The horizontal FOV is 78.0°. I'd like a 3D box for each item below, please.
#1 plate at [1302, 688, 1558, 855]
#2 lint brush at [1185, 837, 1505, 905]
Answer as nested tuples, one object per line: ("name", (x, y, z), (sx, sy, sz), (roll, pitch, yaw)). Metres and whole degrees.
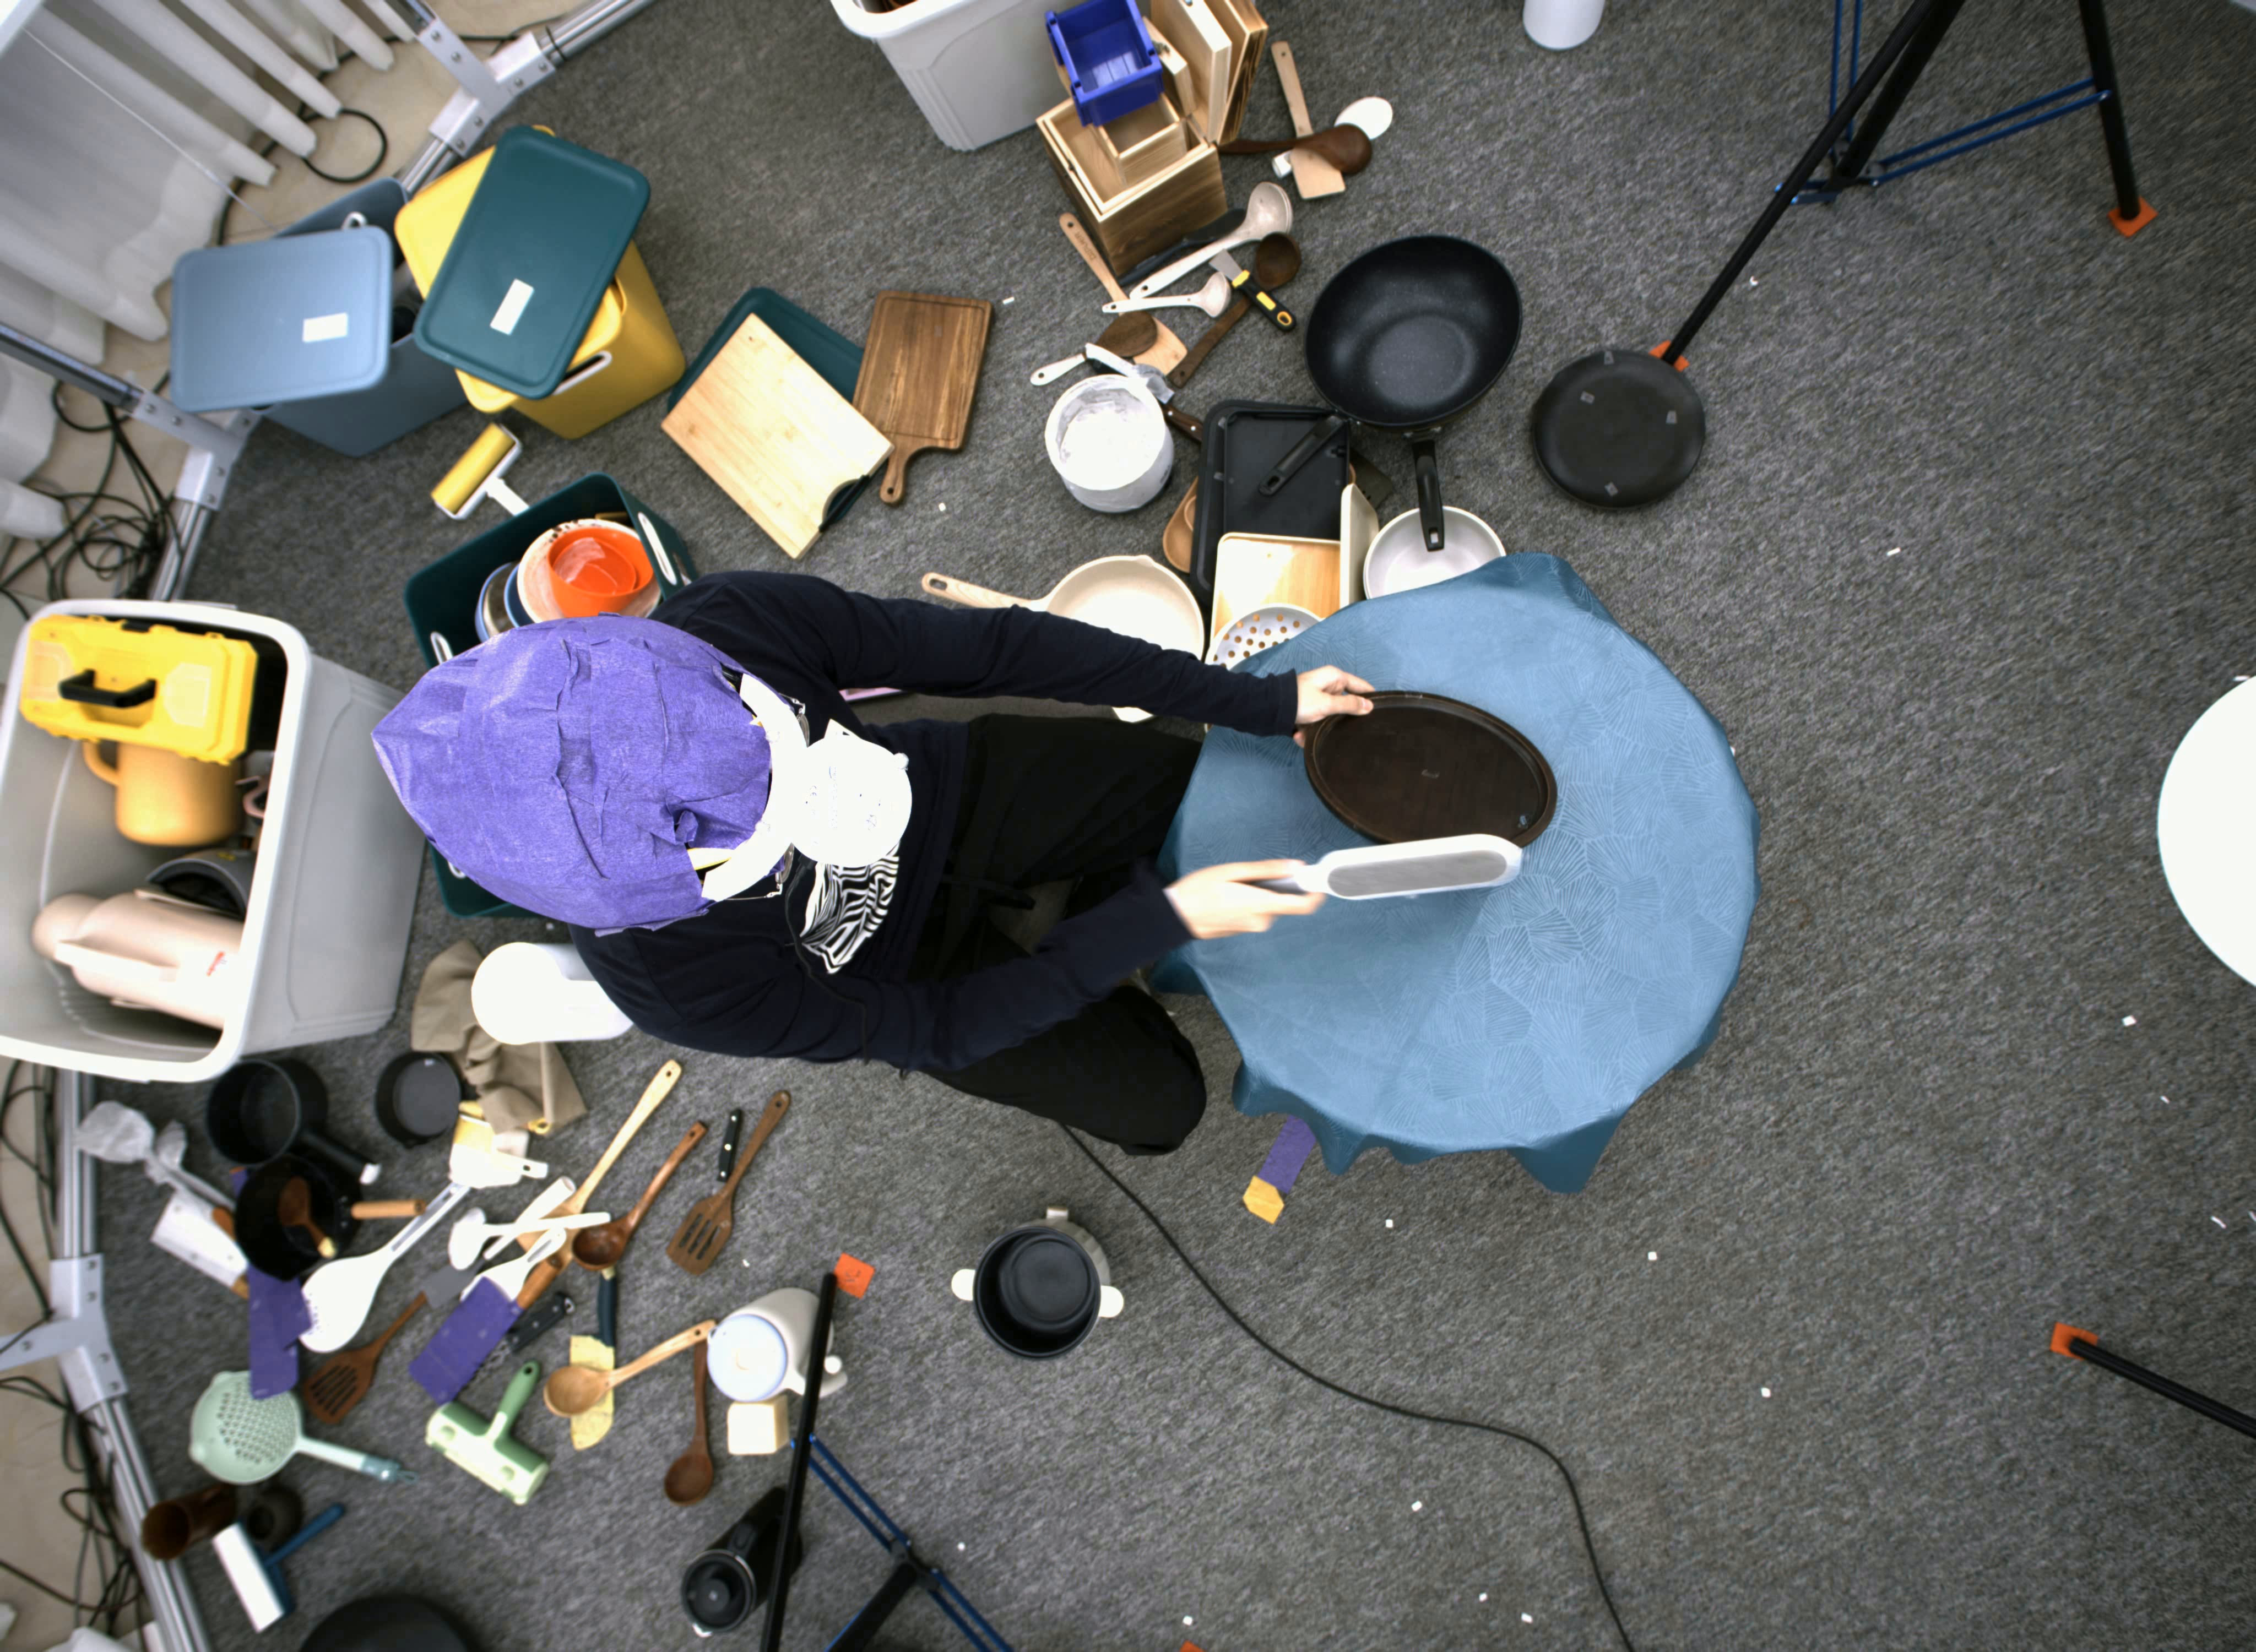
("plate", (0.296, -0.055, 1.353), (0.255, 0.248, 0.030), (17, 132, 11))
("lint brush", (0.196, 0.045, 1.291), (0.312, 0.061, 0.020), (-8, 52, 24))
